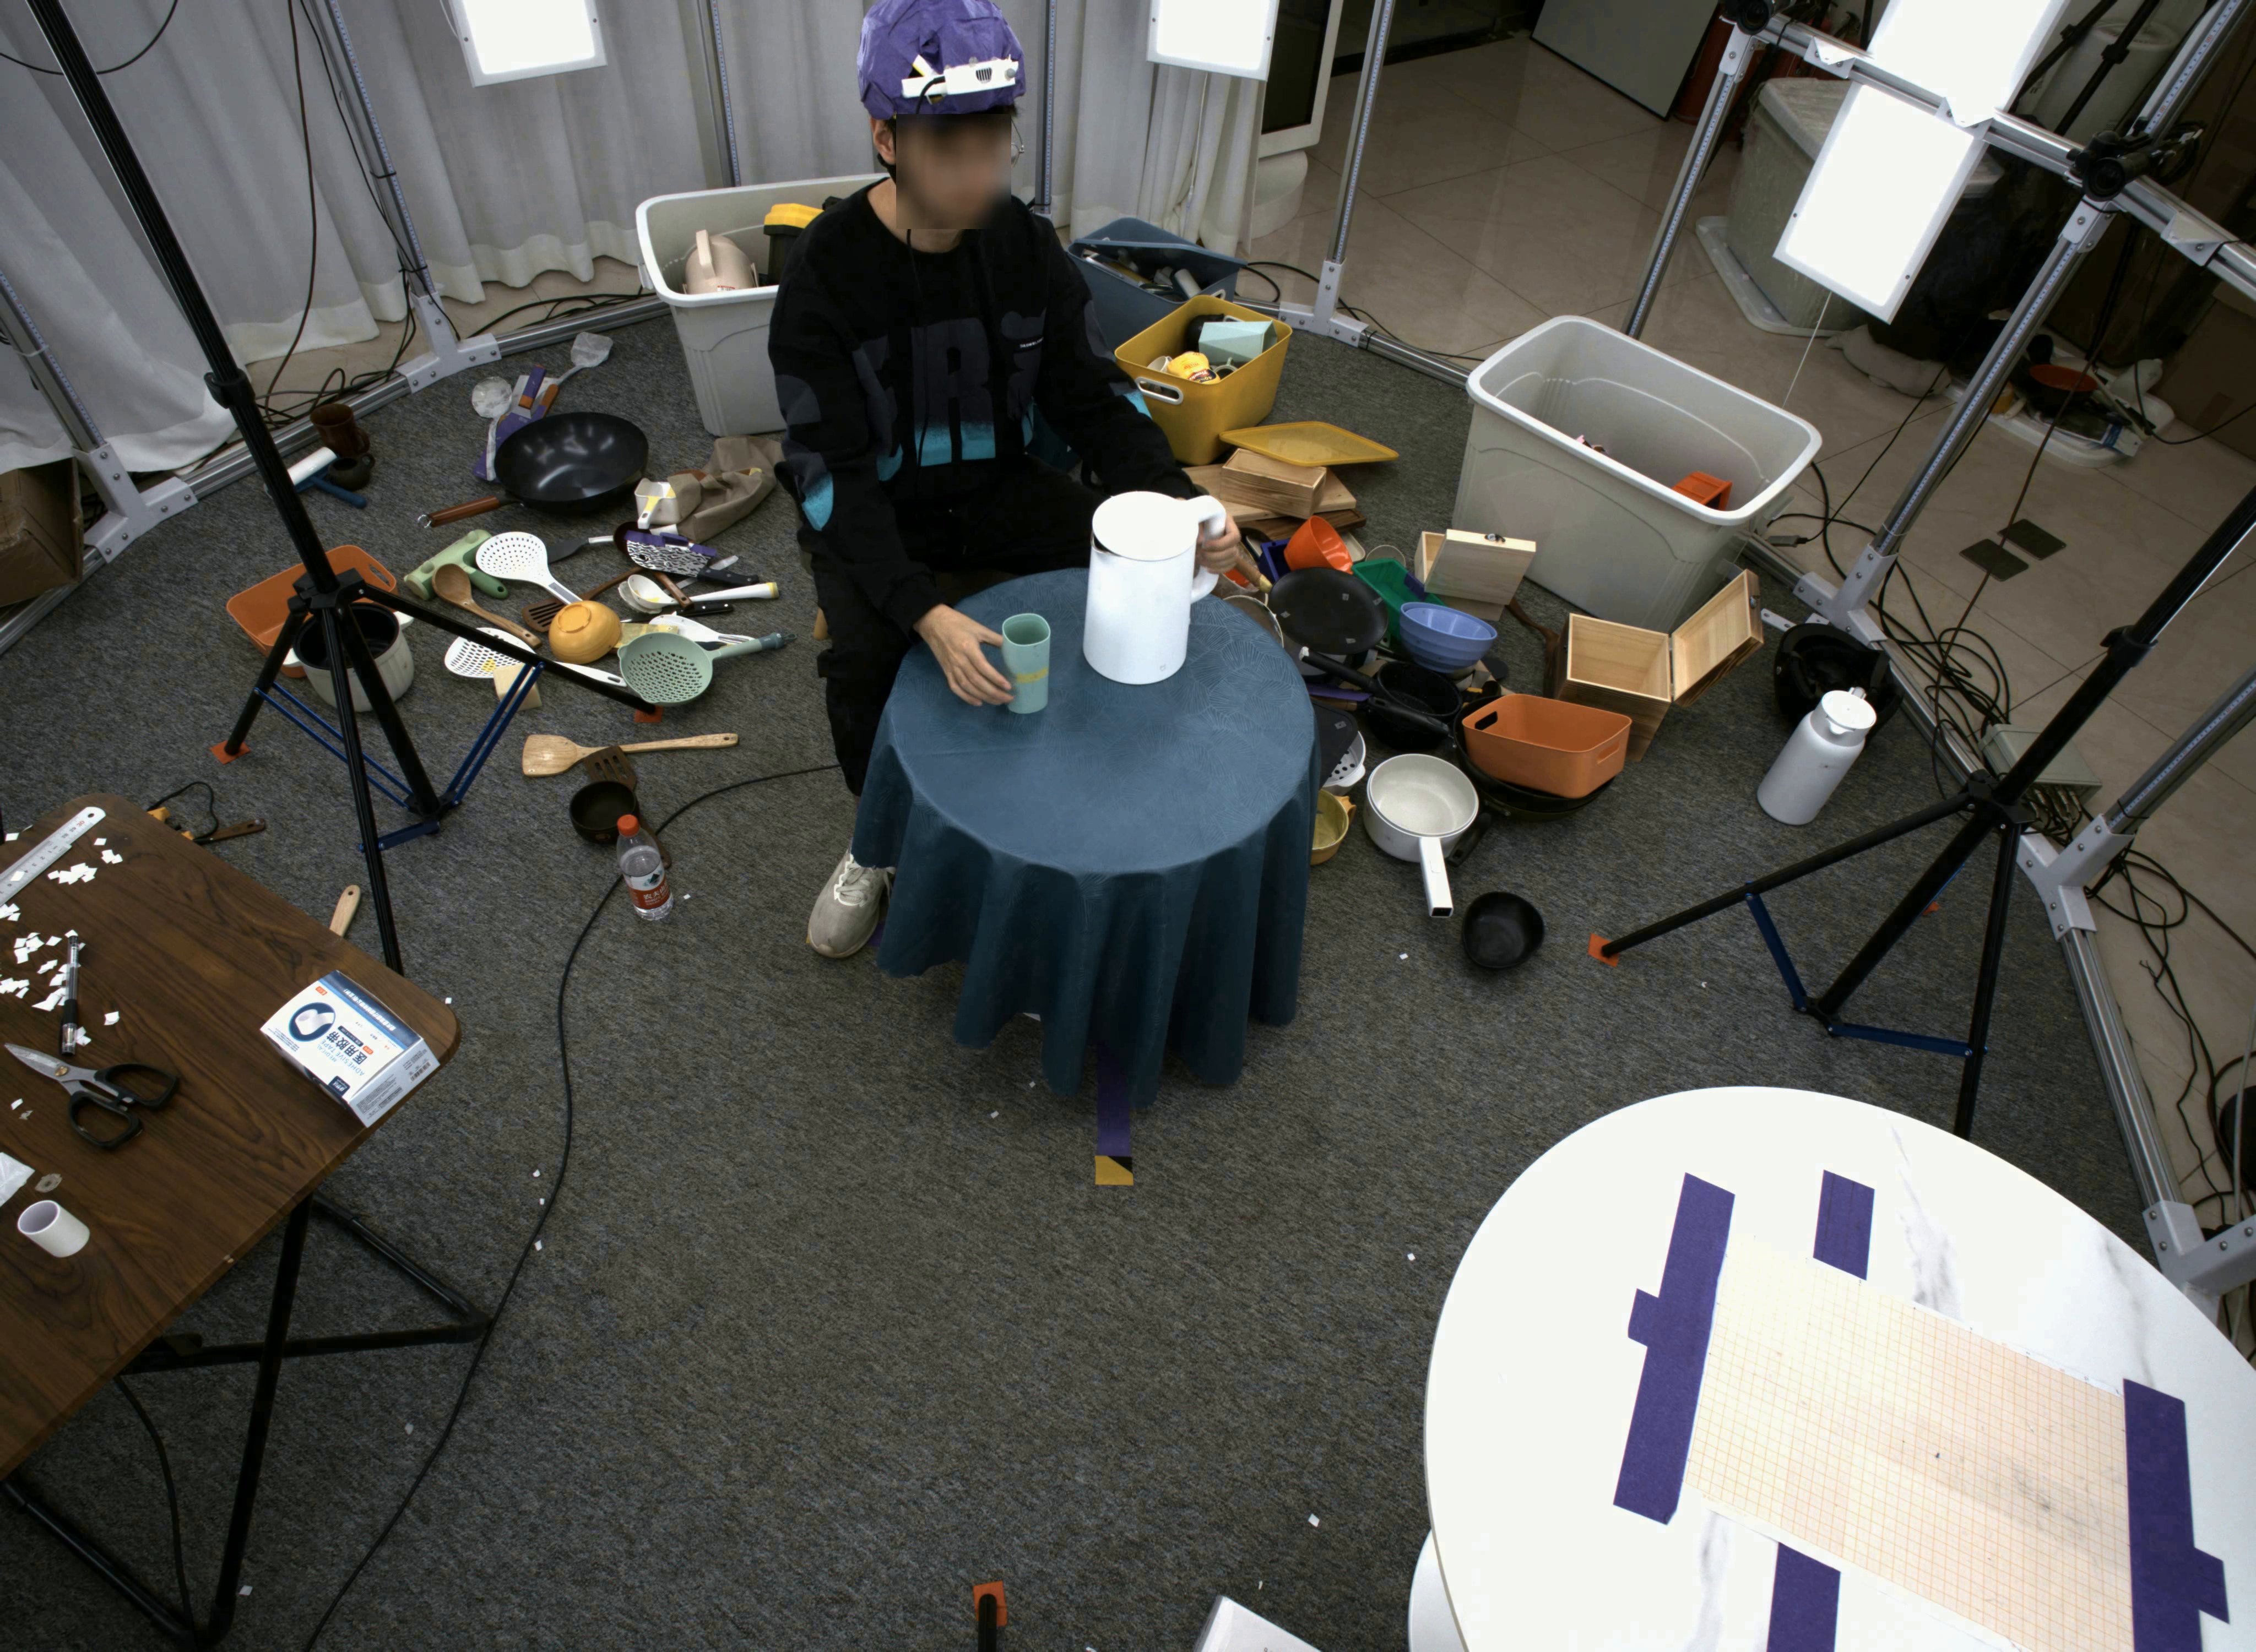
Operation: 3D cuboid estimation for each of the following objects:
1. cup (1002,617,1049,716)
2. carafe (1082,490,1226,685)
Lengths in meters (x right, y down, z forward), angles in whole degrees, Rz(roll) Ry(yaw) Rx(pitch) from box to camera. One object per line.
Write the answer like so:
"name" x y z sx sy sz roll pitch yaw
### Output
"cup" -0.140 -0.220 1.770 0.066 0.129 0.068 2 51 -2
"carafe" 0.039 -0.343 1.818 0.214 0.234 0.155 -25 57 -22
